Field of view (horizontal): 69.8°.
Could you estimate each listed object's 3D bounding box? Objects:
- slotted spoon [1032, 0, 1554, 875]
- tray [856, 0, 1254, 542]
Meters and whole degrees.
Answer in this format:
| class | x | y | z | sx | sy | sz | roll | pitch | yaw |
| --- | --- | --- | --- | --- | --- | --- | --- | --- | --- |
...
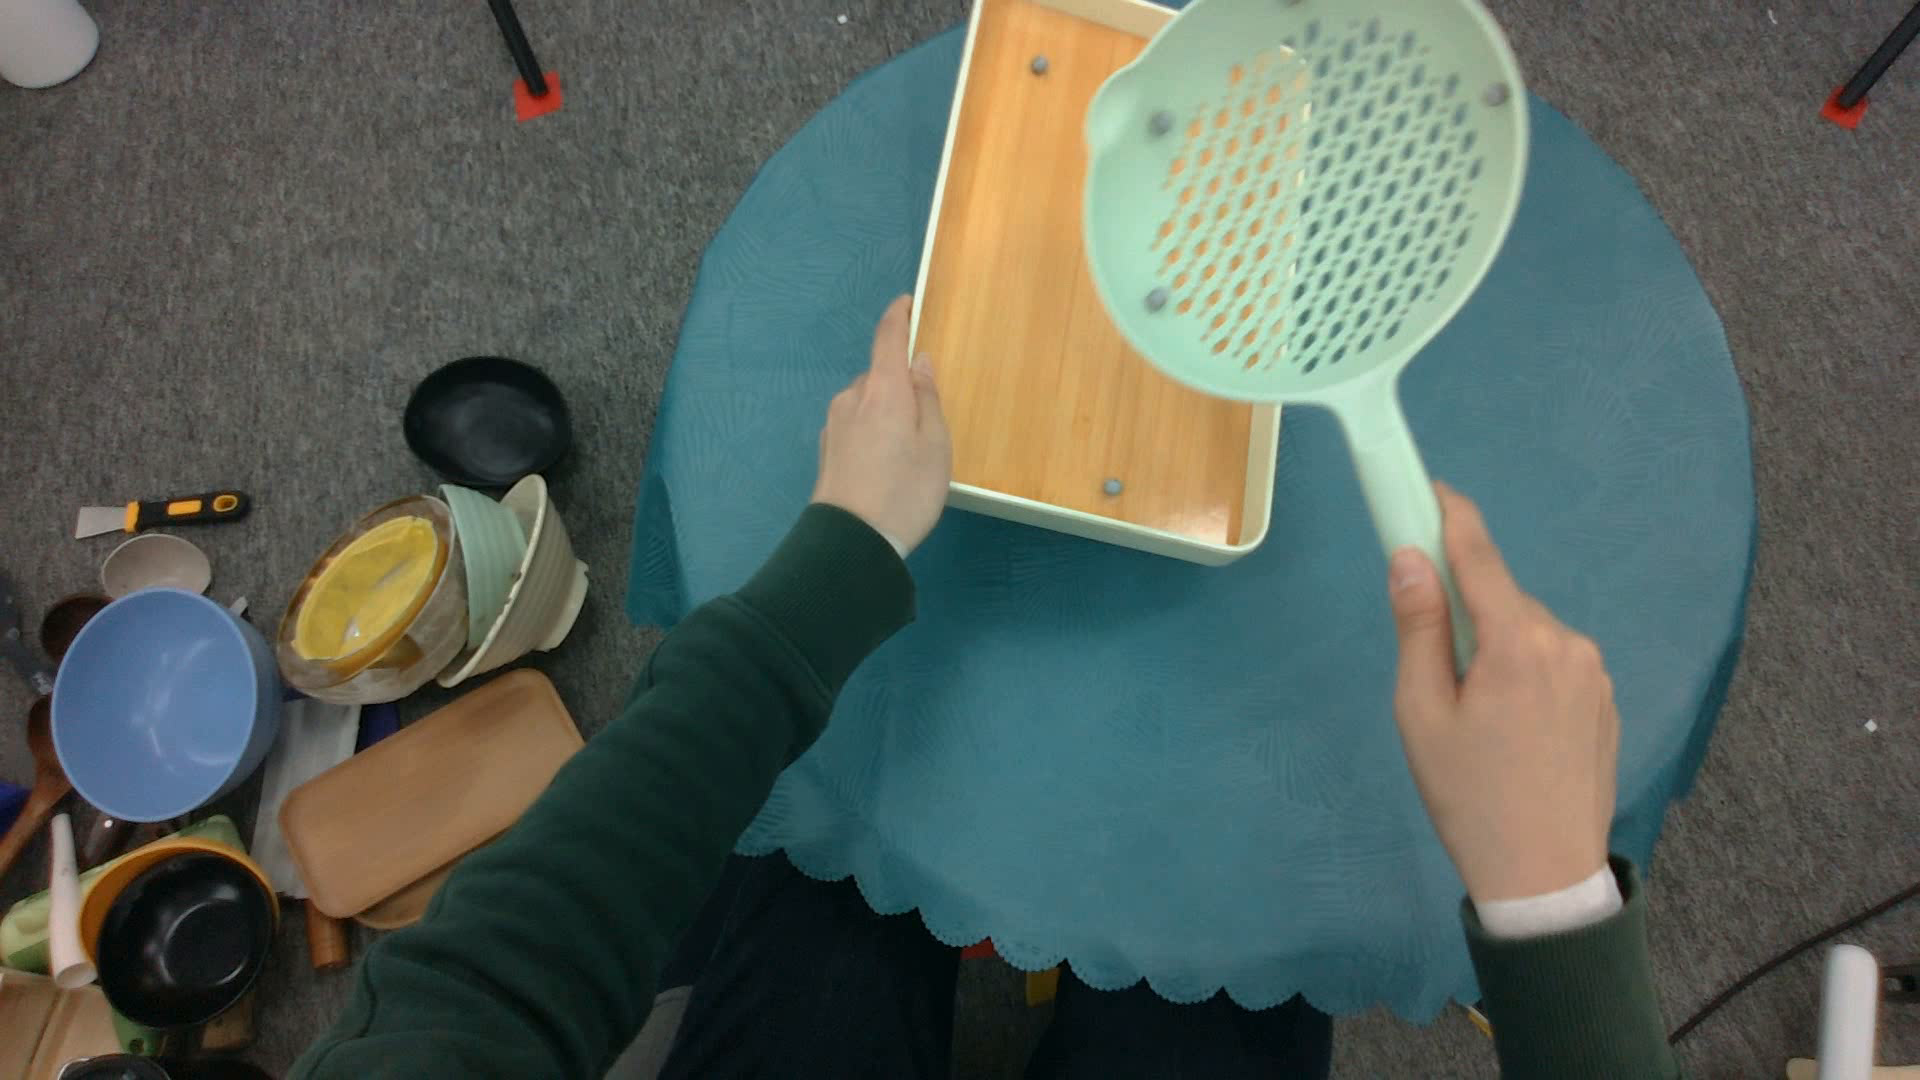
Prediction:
| class | x | y | z | sx | sy | sz | roll | pitch | yaw |
| --- | --- | --- | --- | --- | --- | --- | --- | --- | --- |
| slotted spoon | 0.145 | -0.049 | 0.526 | 0.169 | 0.075 | 0.359 | -25 | 69 | 26 |
| tray | 0.061 | -0.156 | 0.703 | 0.192 | 0.027 | 0.301 | 12 | 69 | -11 |
